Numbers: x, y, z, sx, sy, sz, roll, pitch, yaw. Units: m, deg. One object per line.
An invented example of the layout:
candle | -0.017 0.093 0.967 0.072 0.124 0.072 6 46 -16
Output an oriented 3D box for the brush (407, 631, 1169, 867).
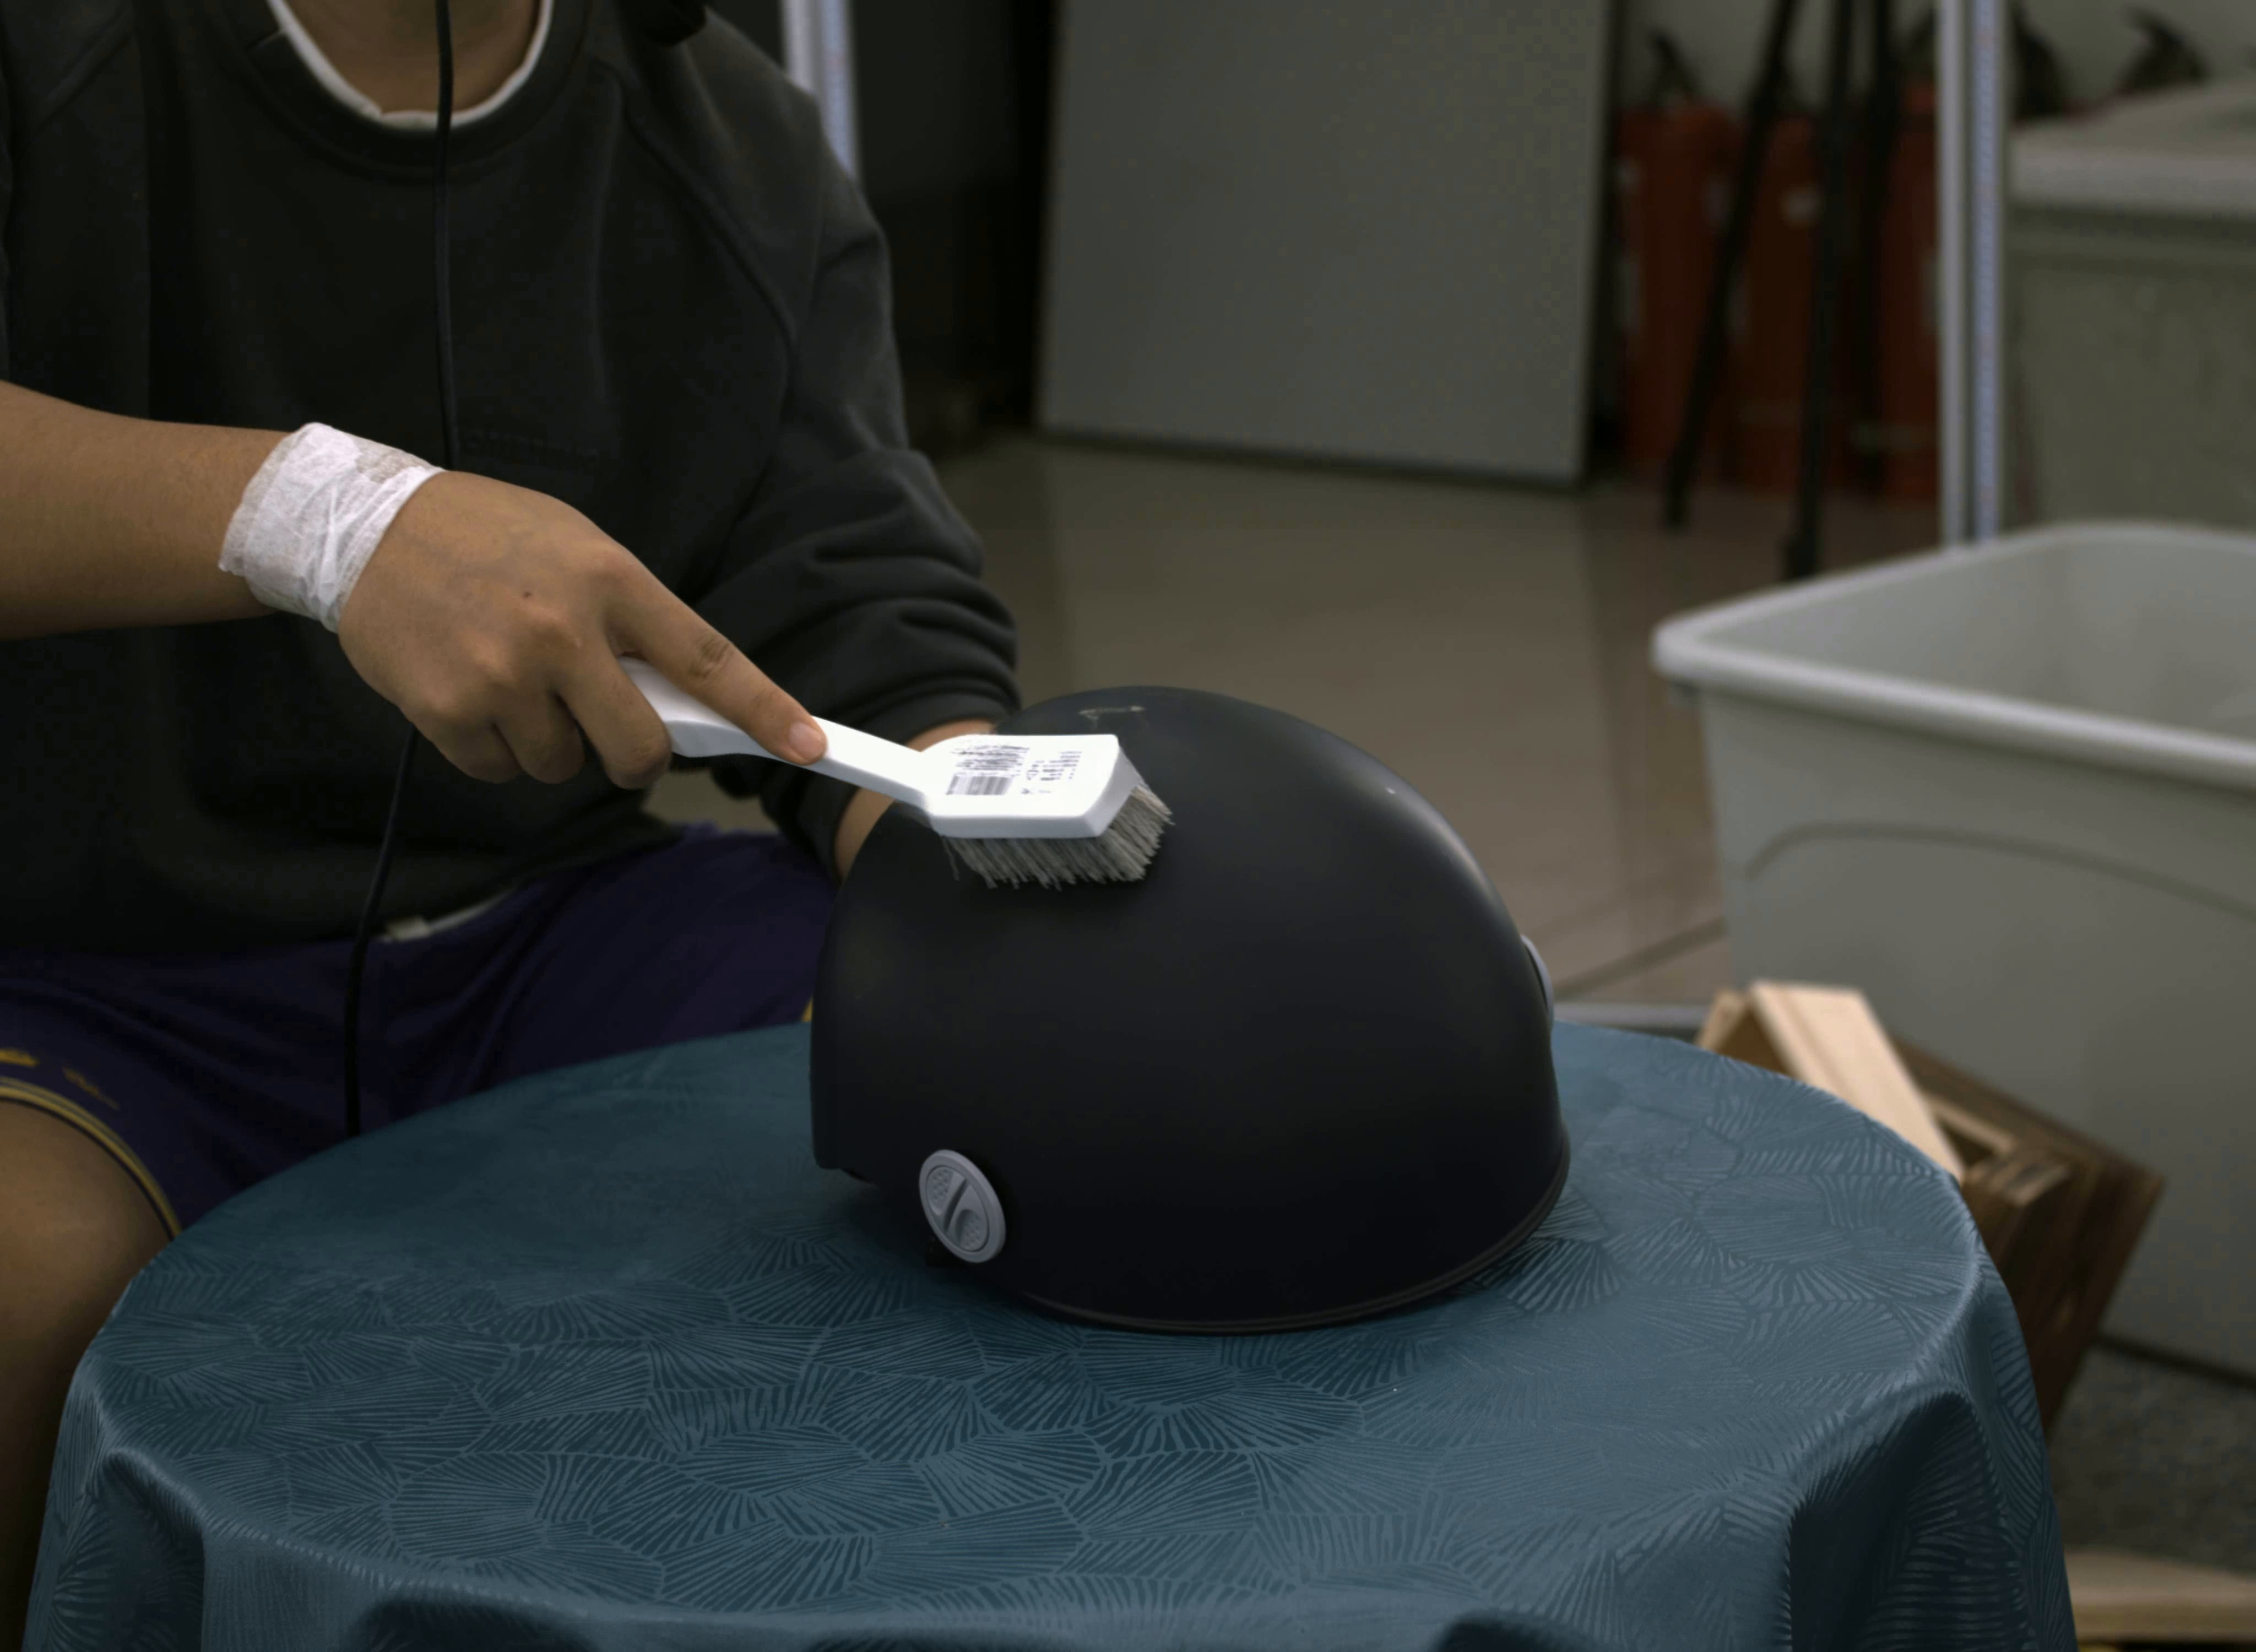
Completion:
brush | -0.106 -0.023 1.660 0.243 0.050 0.034 8 54 16

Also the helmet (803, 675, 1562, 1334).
helmet | 0.012 0.043 1.719 0.225 0.168 0.276 -19 23 -24
